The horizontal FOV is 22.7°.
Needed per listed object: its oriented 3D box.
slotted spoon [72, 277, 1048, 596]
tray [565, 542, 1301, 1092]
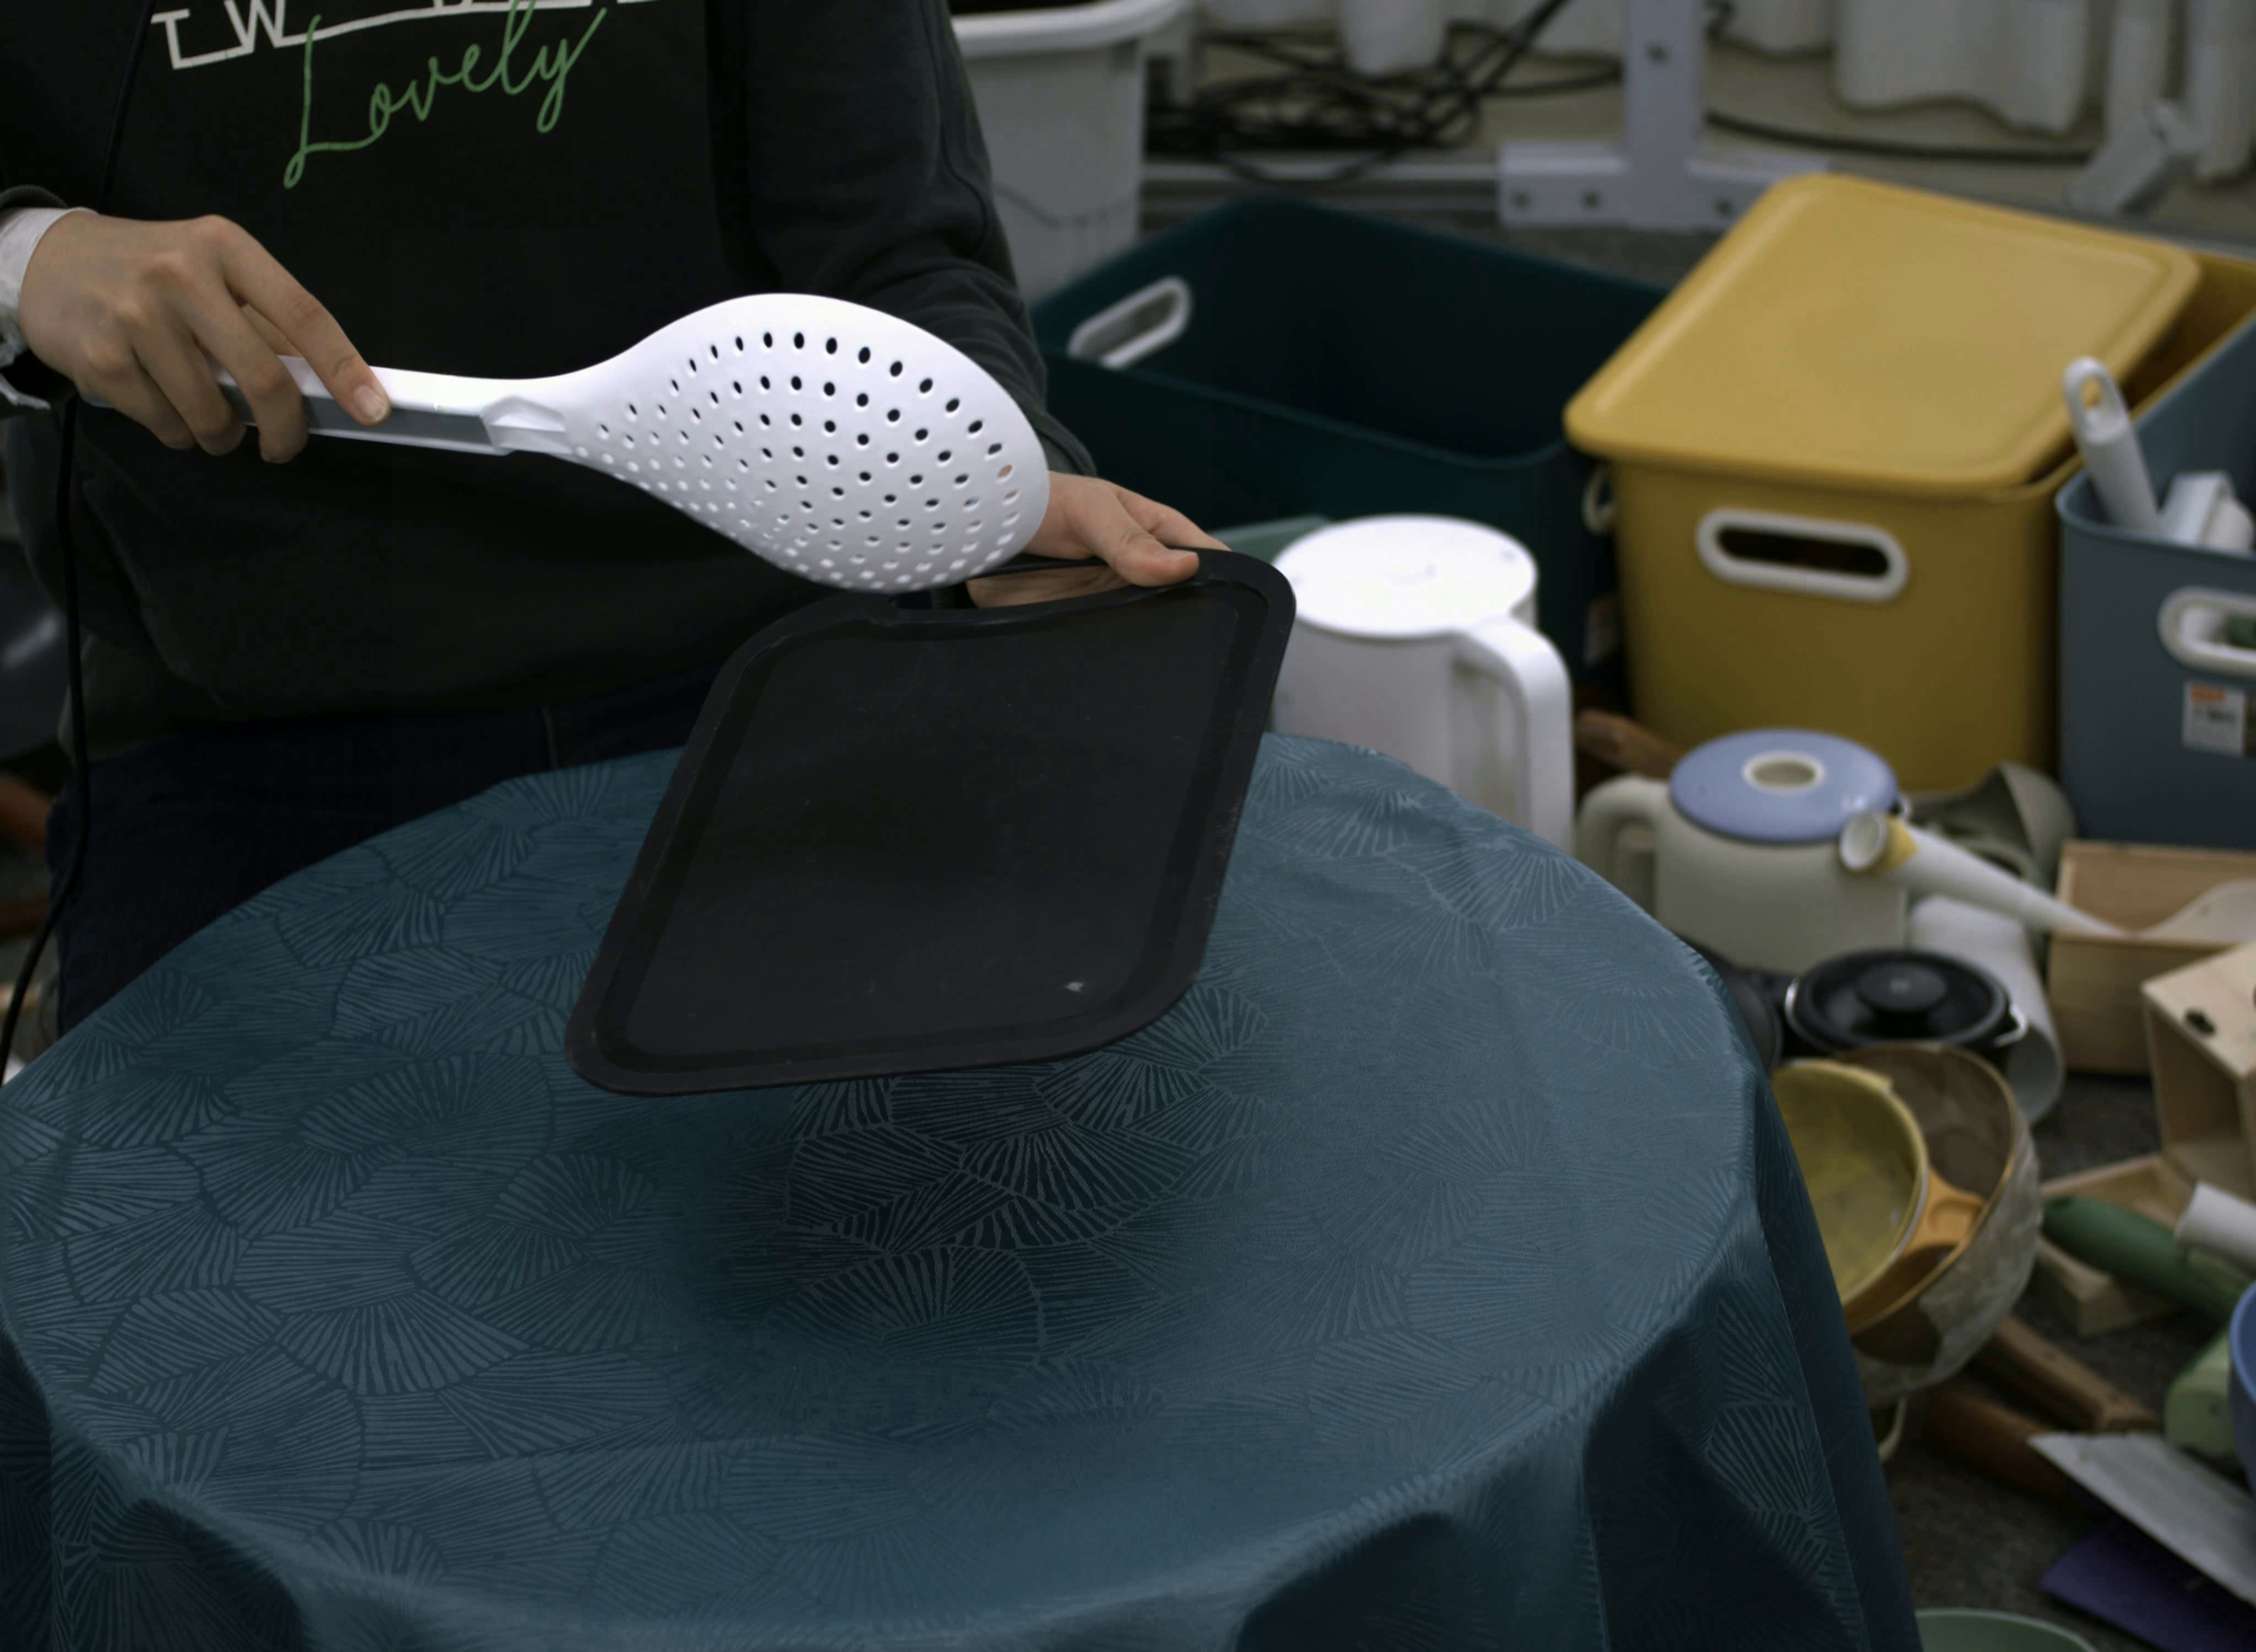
[{"bbox_3d":[-0.194,-0.135,1.868,0.347,0.134,0.046,11,49,21],"label":"slotted spoon"},{"bbox_3d":[-0.059,-0.011,1.863,0.209,0.009,0.331,-6,31,15],"label":"tray"}]
